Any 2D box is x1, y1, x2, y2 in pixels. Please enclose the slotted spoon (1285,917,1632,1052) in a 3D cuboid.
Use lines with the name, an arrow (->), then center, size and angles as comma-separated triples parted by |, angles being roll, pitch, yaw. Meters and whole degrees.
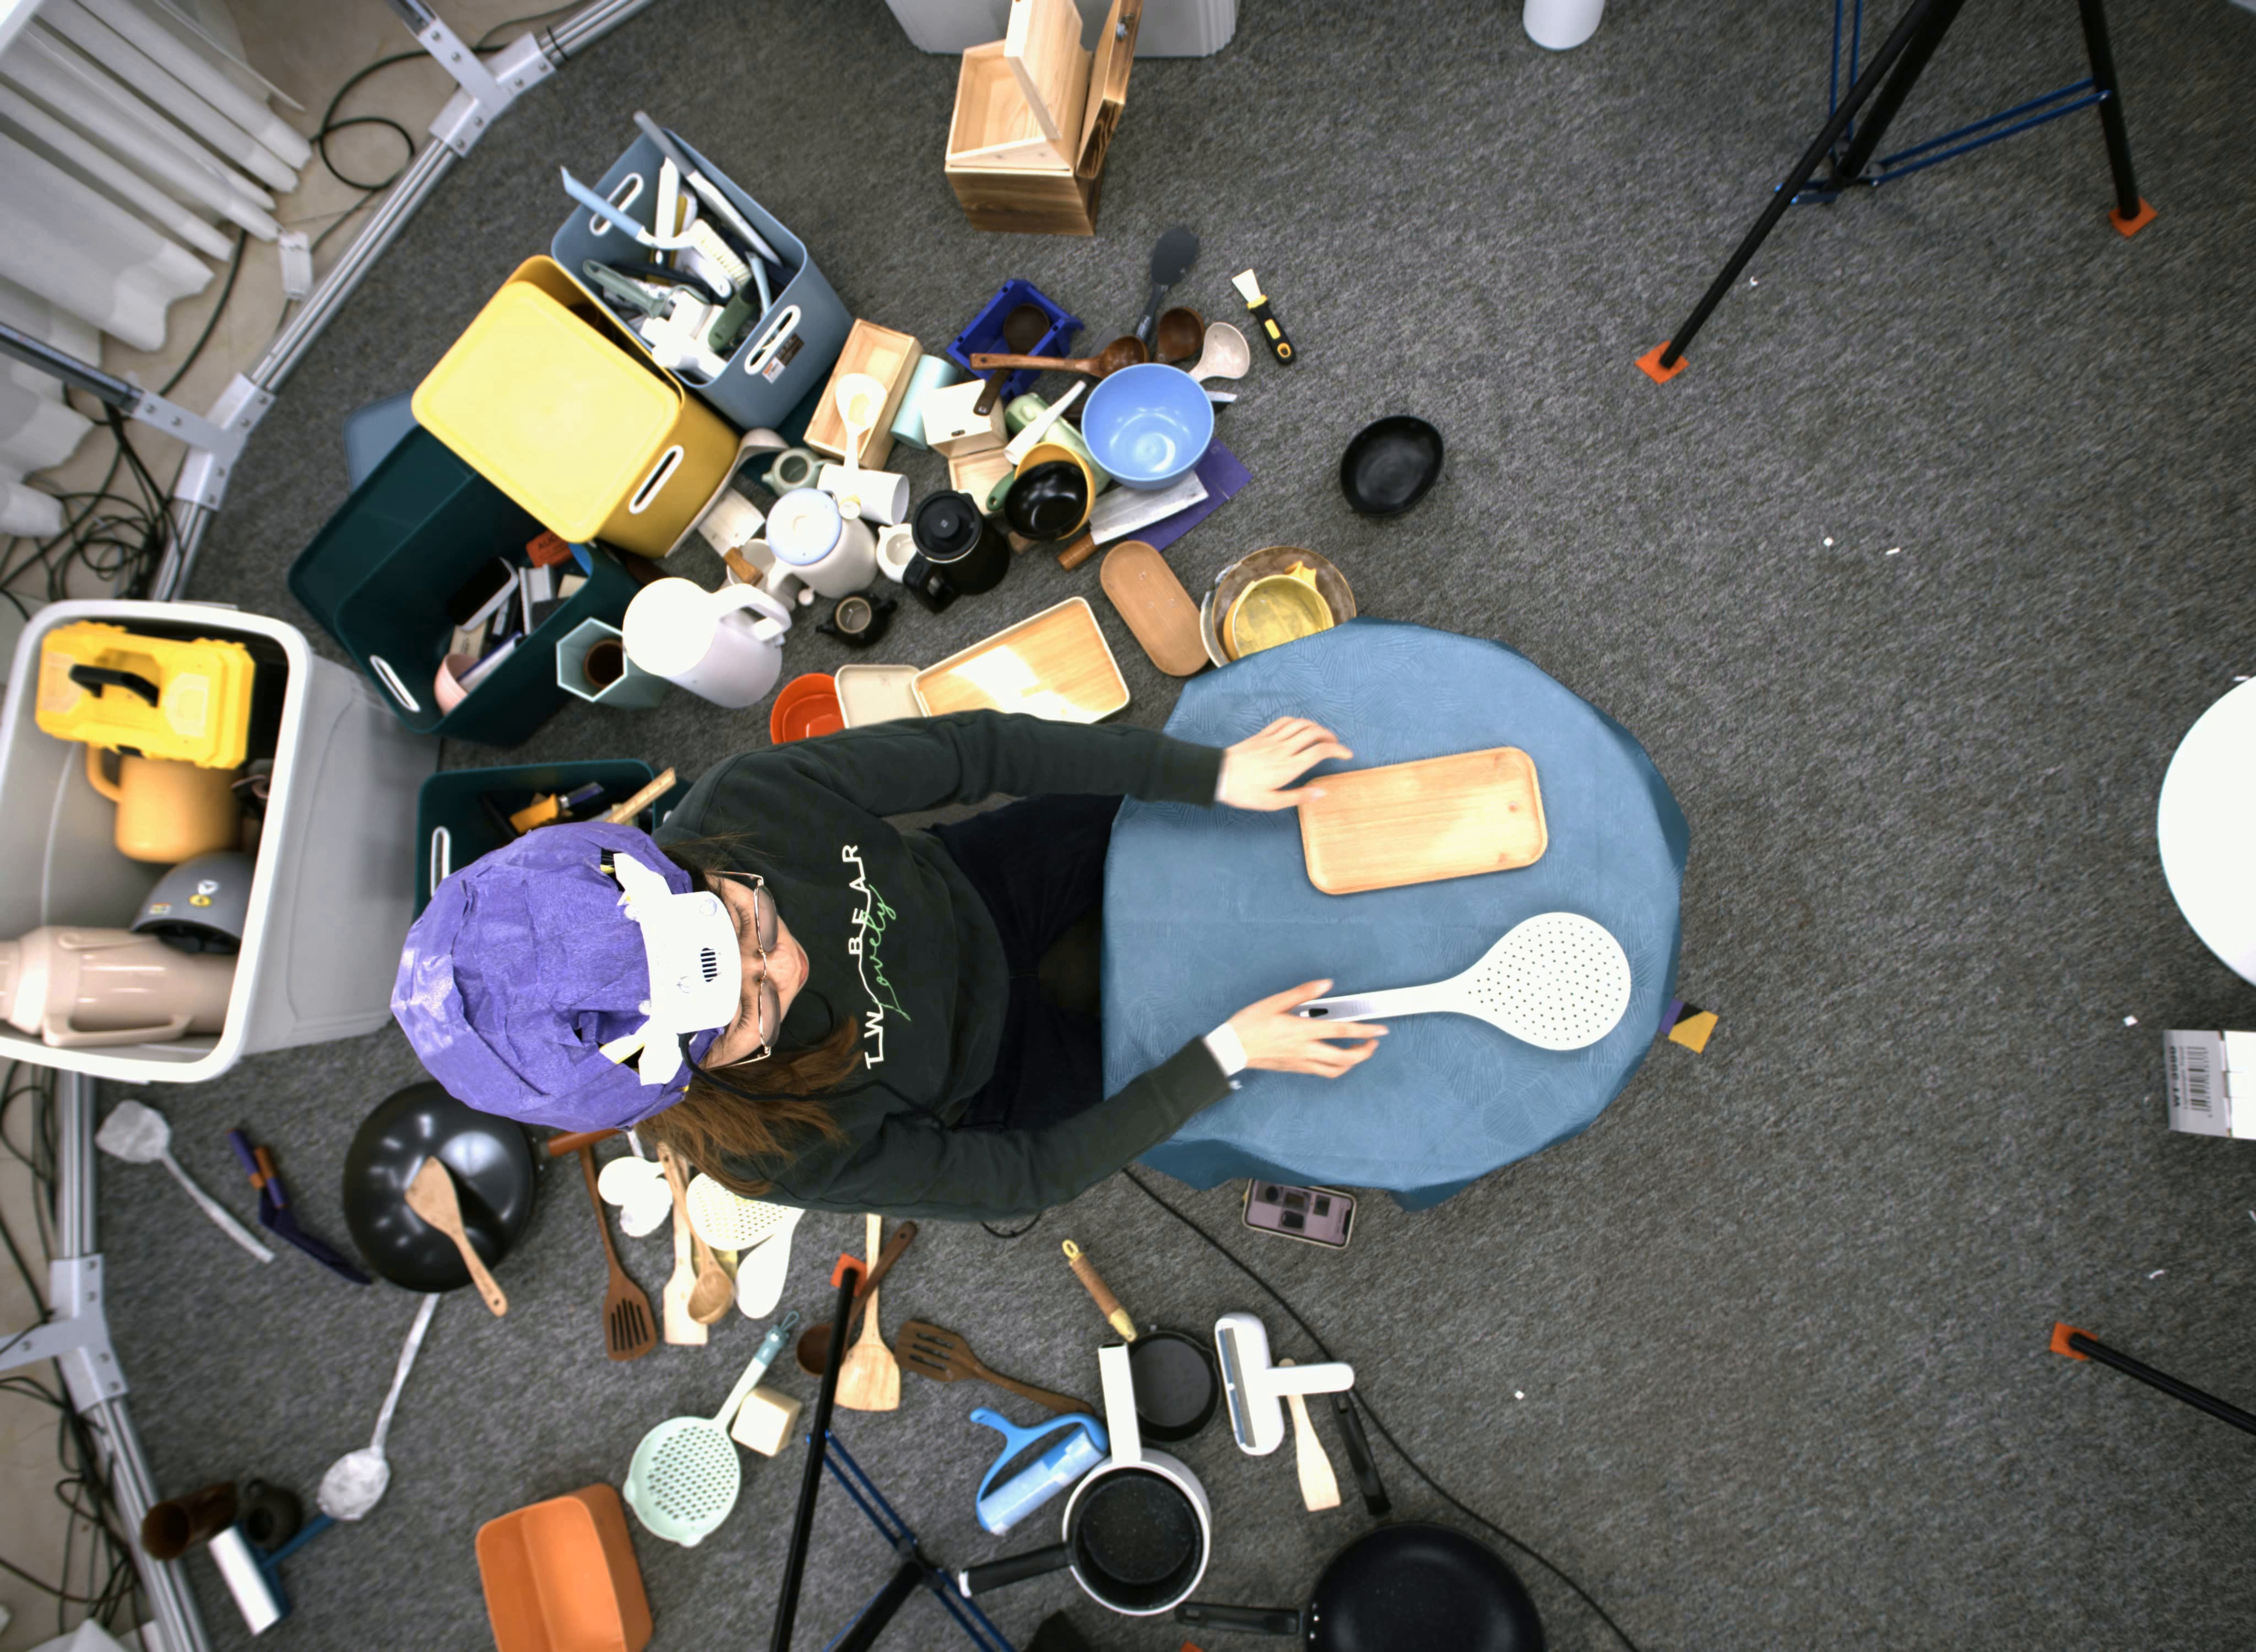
slotted spoon -> 0.335, 0.175, 1.423 | 0.351, 0.046, 0.135 | -9, 84, 10

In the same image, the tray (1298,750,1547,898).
tray -> 0.309, -0.003, 1.454 | 0.252, 0.023, 0.129 | -9, 83, 10
